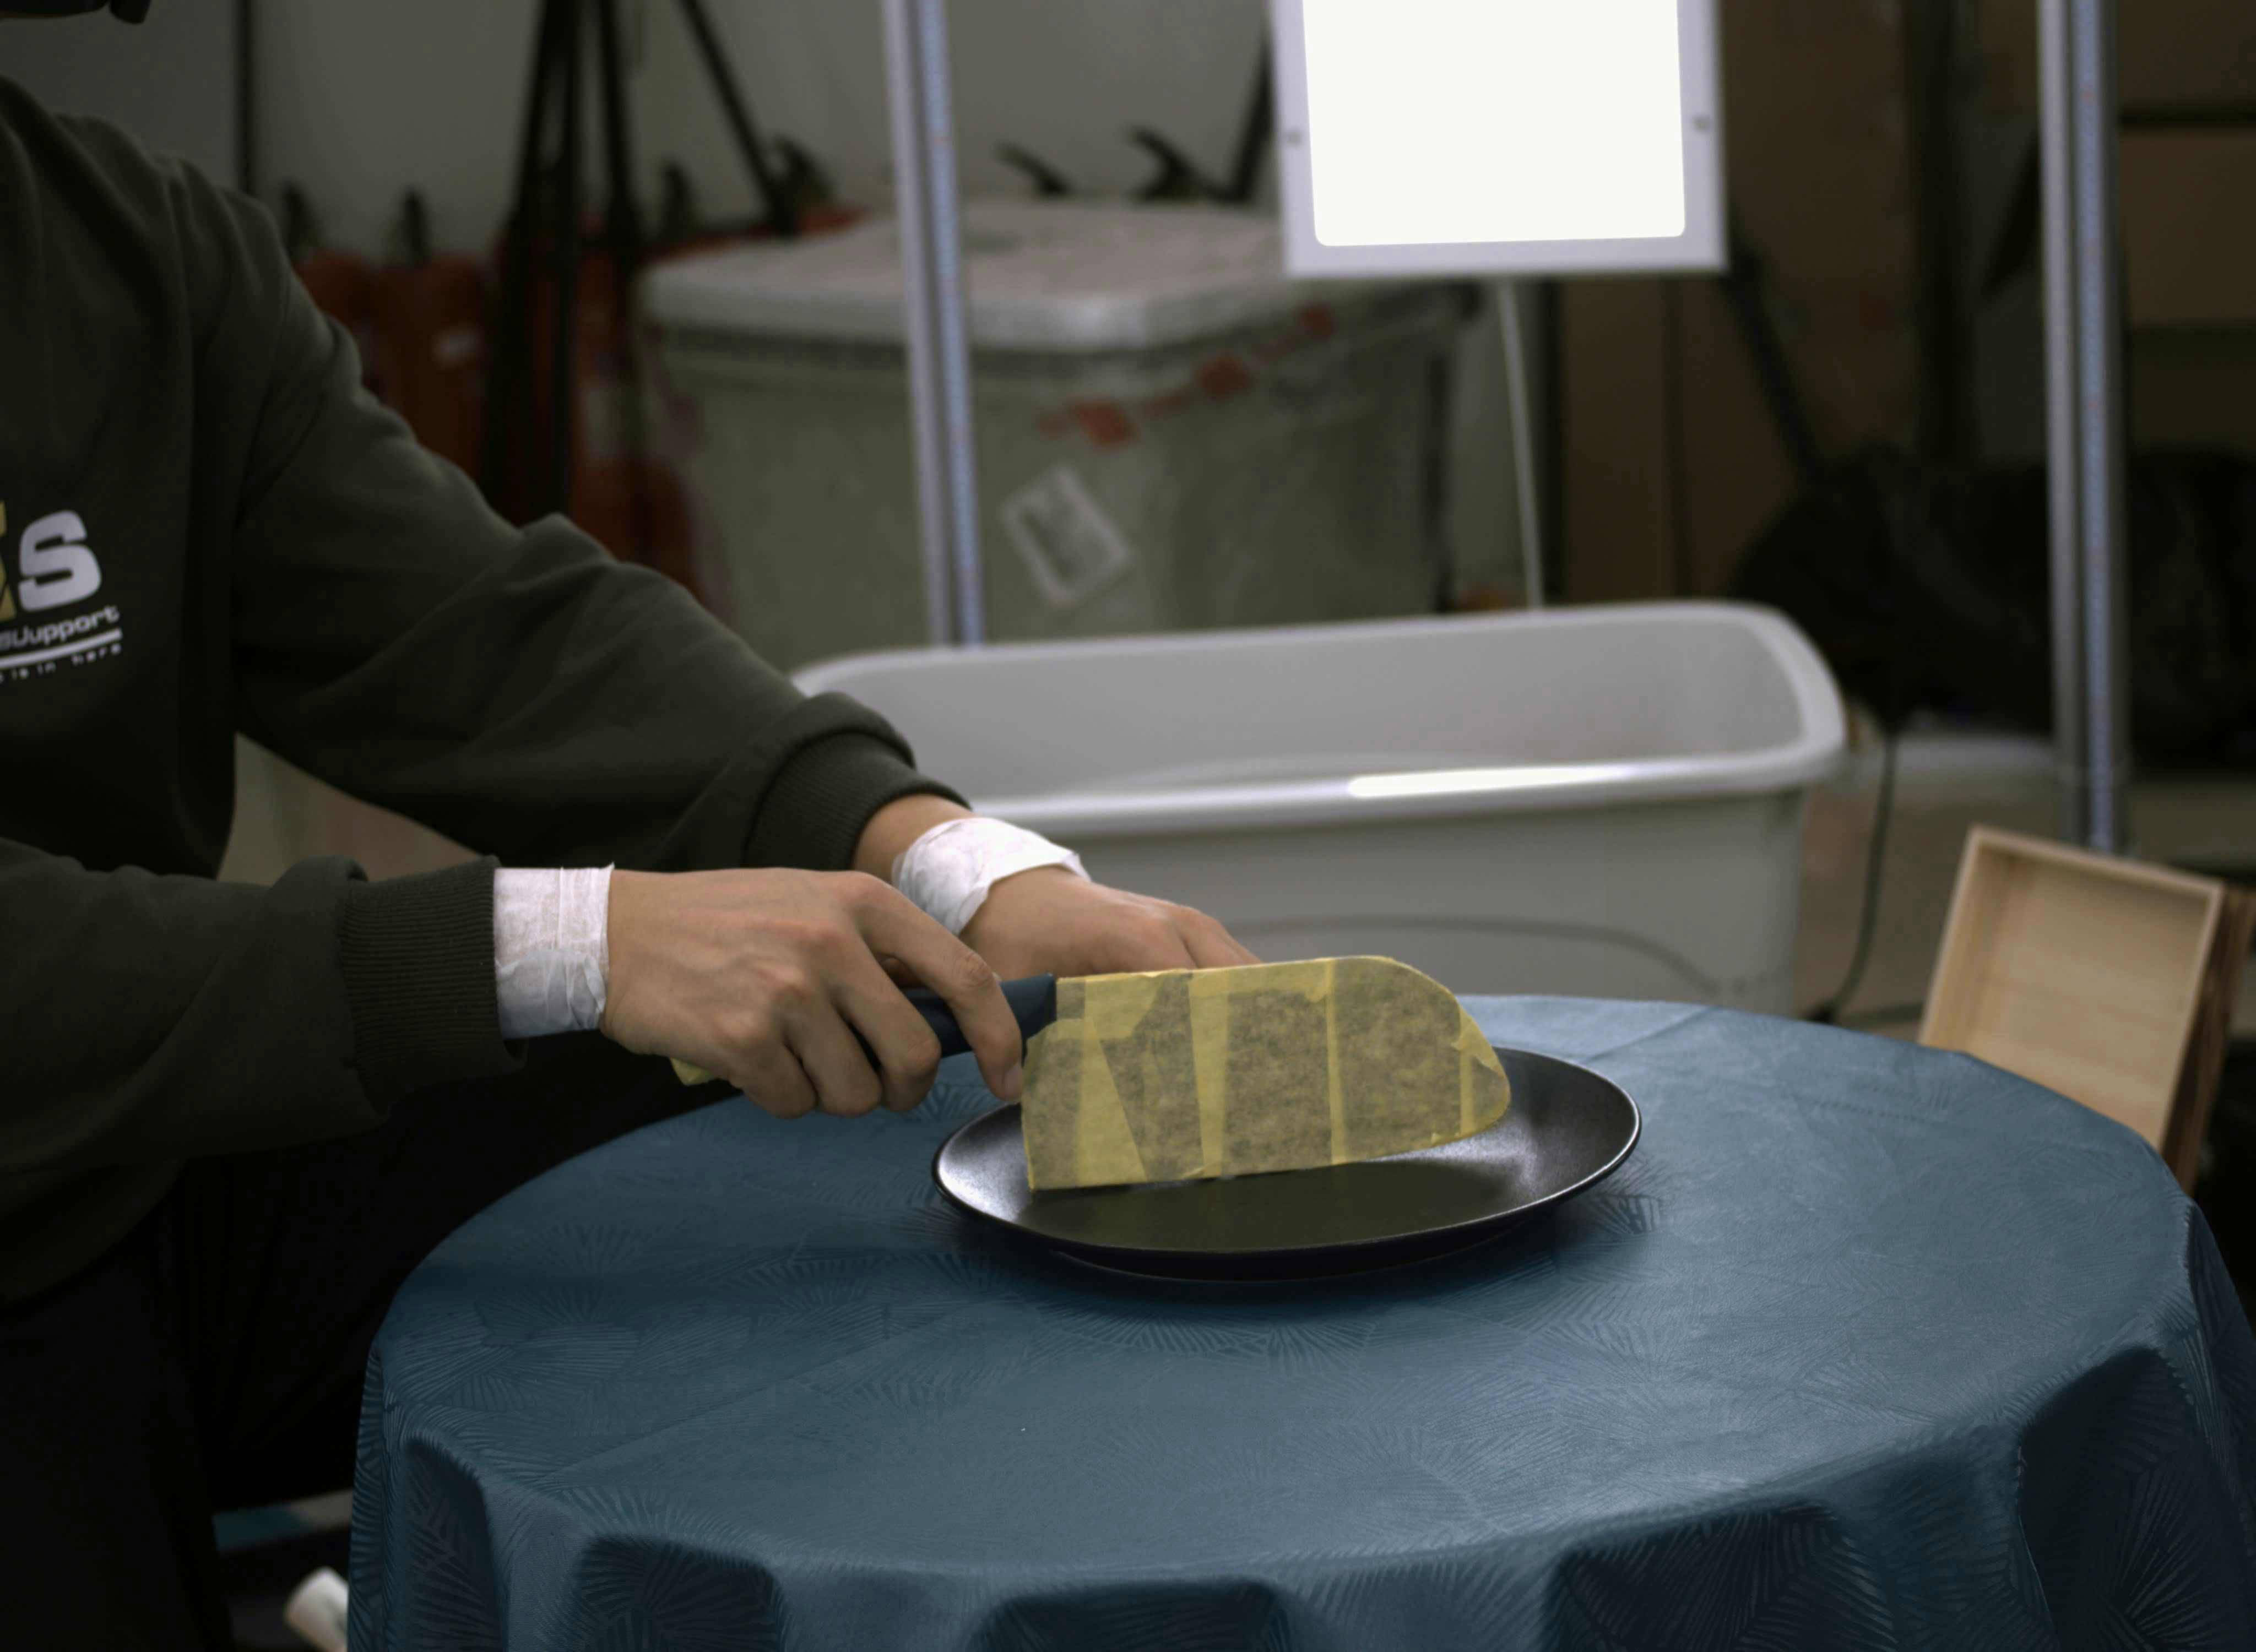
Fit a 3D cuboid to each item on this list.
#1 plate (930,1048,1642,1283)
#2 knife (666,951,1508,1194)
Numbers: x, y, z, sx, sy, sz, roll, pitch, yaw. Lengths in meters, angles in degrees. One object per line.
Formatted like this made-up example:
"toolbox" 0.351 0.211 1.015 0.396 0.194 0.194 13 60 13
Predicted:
"plate" 0.055 0.116 1.876 0.244 0.023 0.244 -5 13 0
"knife" -0.012 0.085 1.874 0.288 0.081 0.027 -1 6 -2
